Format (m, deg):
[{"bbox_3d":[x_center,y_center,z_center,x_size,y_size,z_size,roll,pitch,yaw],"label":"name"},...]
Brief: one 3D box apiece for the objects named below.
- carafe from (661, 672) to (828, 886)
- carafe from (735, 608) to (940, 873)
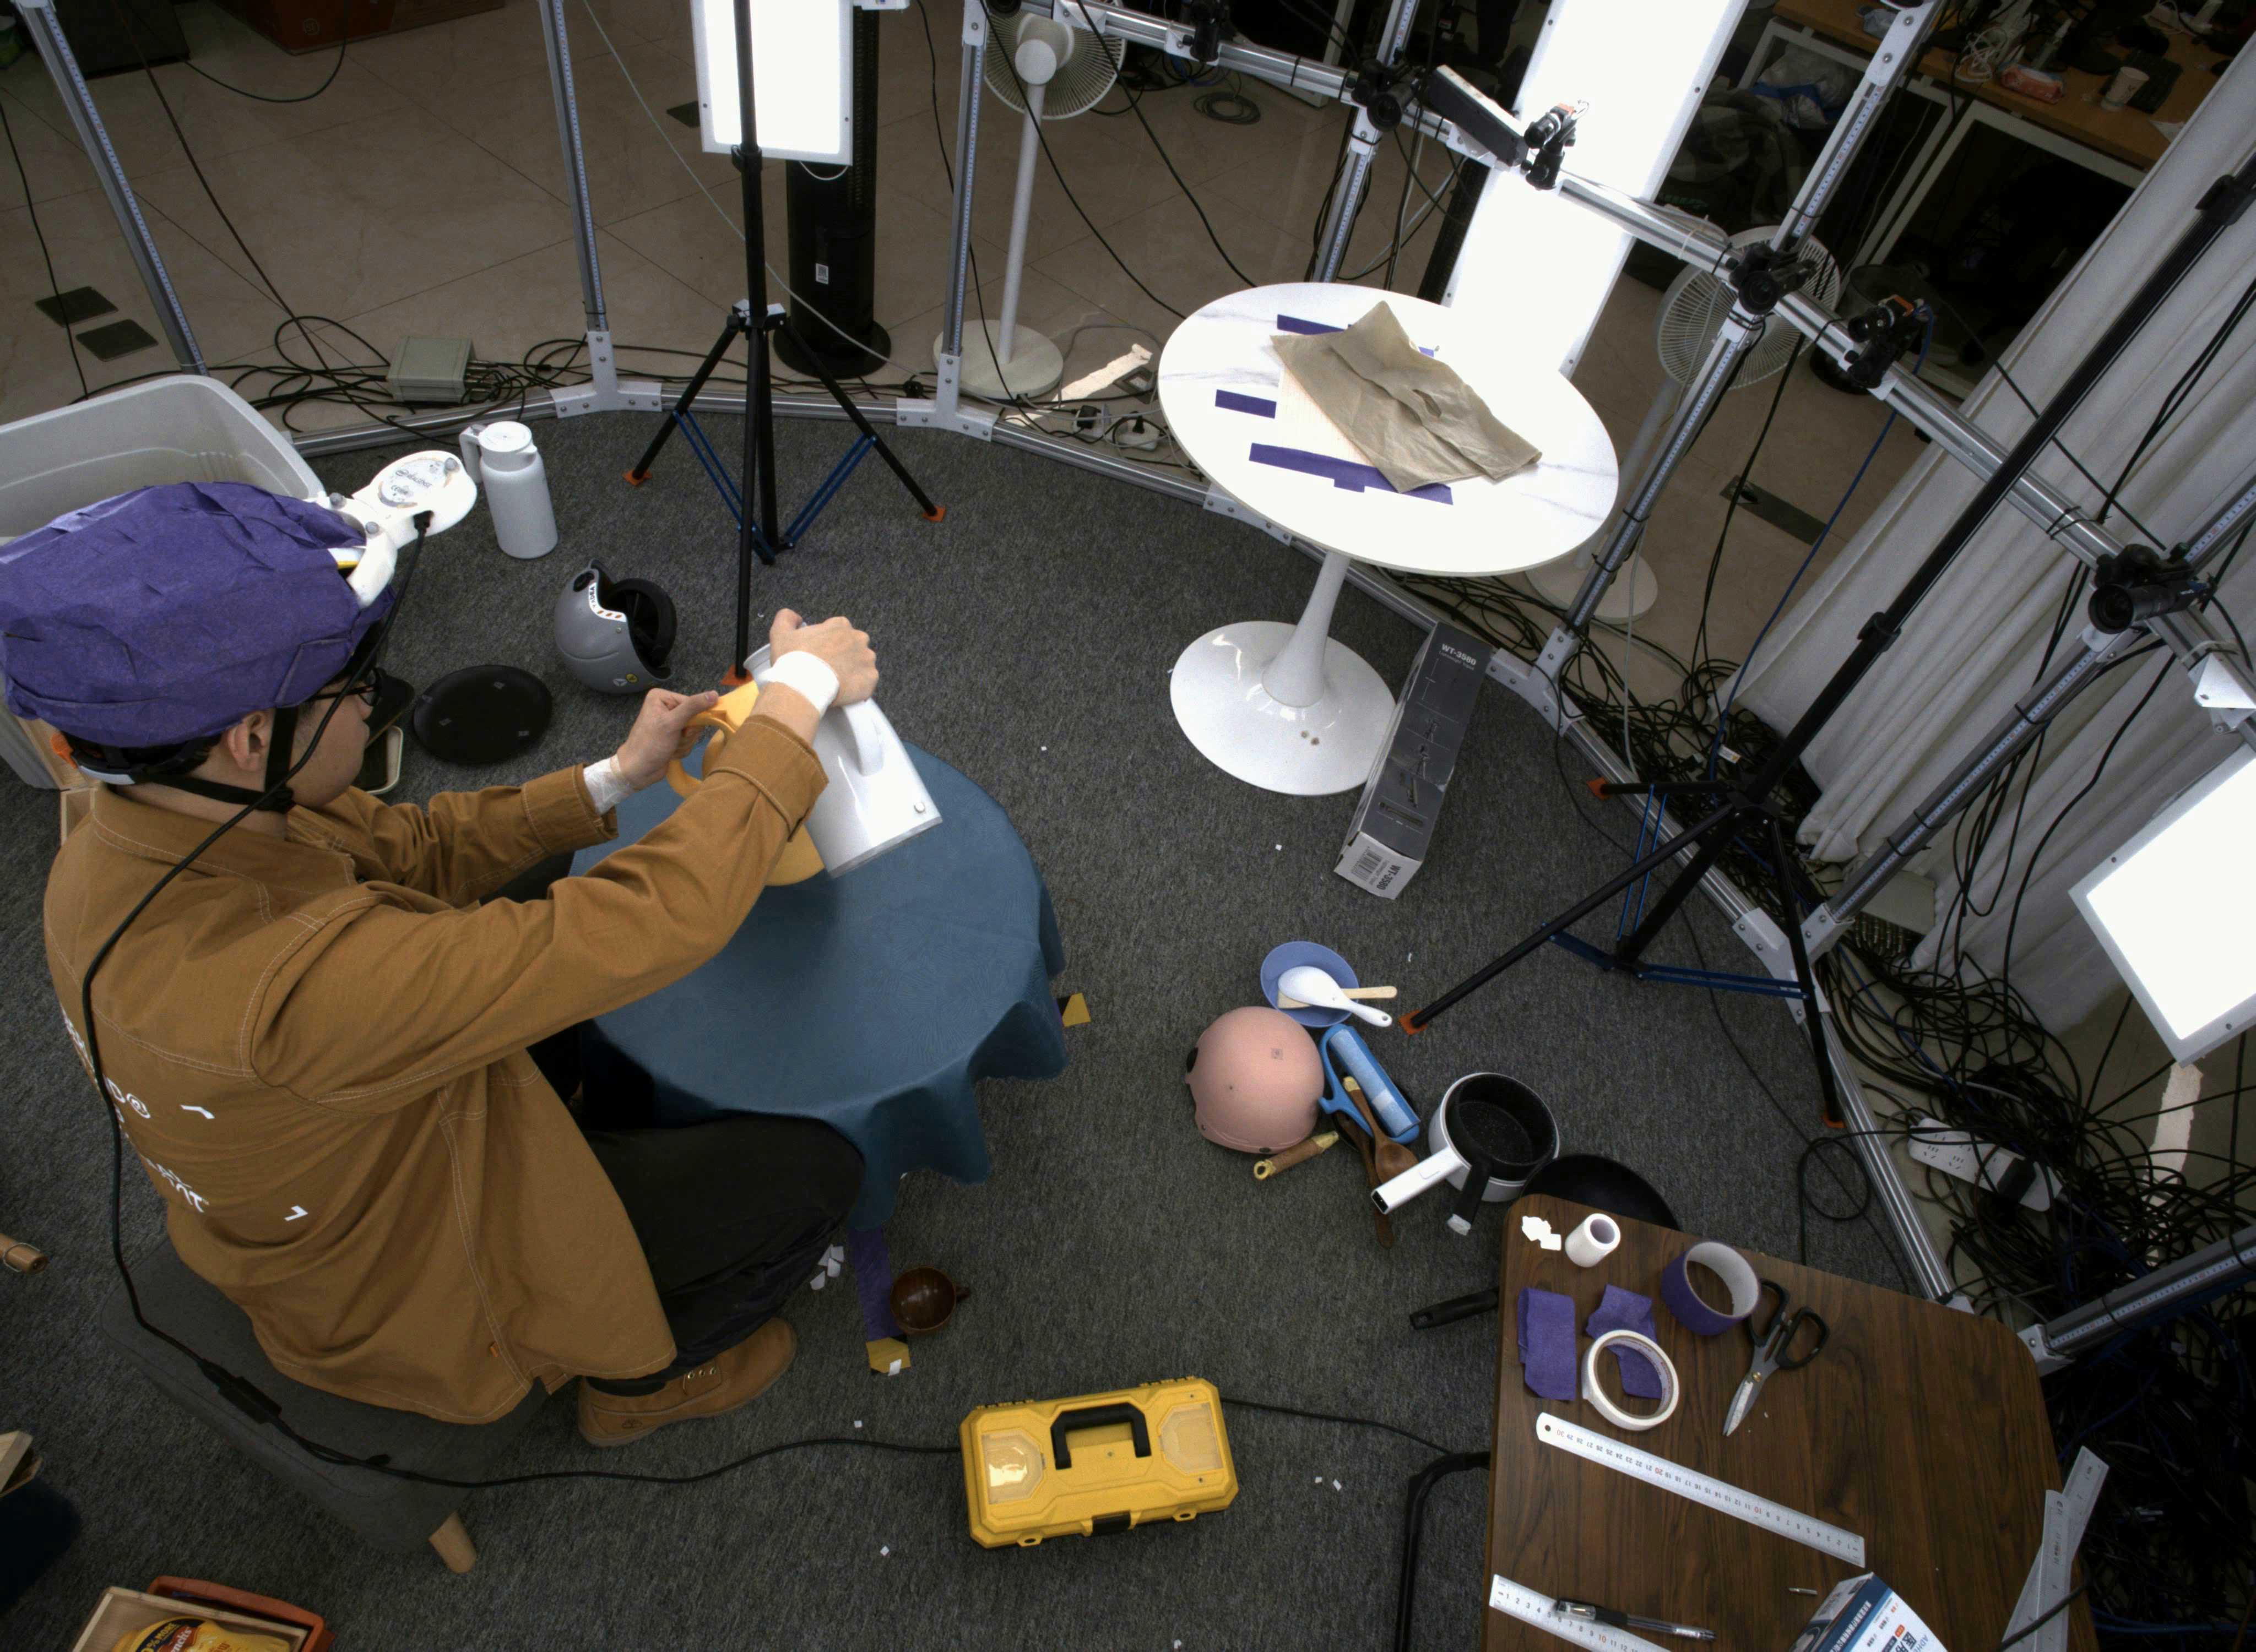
[{"bbox_3d":[-0.445,-0.064,1.532,0.202,0.266,0.160,3,48,-10],"label":"carafe"},{"bbox_3d":[-0.301,-0.098,1.329,0.133,0.165,0.252,-30,95,-32],"label":"carafe"}]
